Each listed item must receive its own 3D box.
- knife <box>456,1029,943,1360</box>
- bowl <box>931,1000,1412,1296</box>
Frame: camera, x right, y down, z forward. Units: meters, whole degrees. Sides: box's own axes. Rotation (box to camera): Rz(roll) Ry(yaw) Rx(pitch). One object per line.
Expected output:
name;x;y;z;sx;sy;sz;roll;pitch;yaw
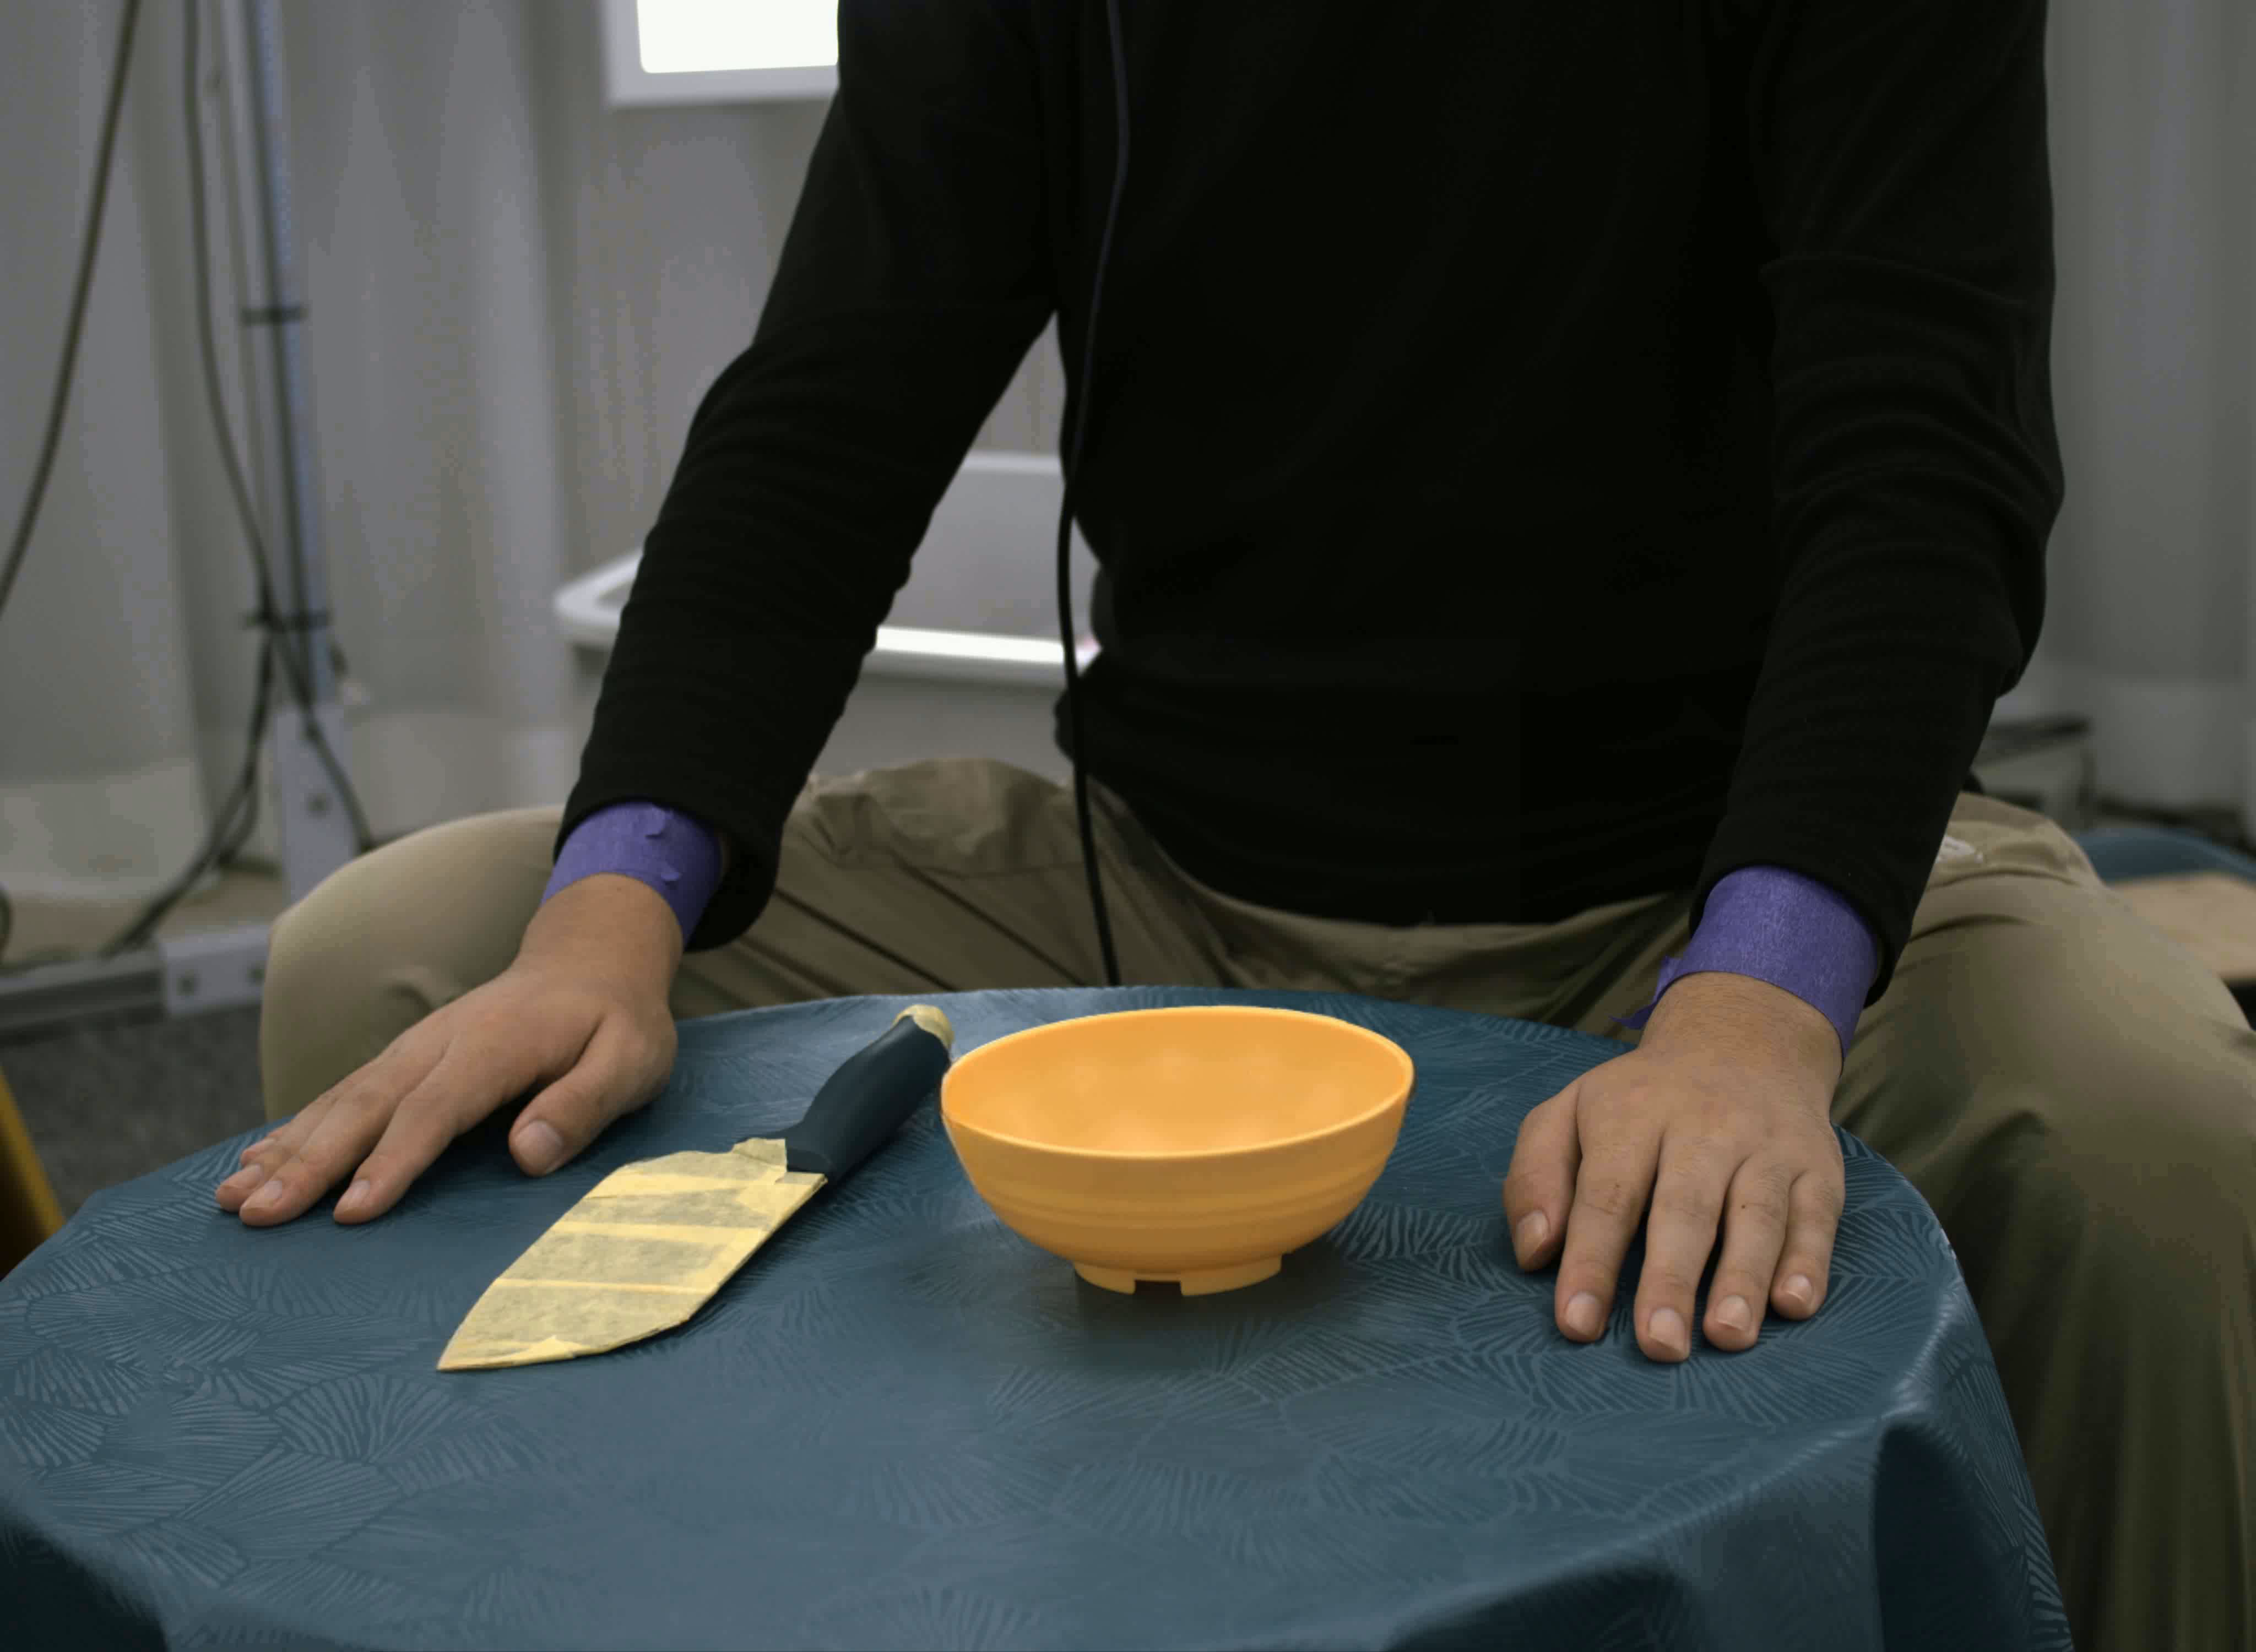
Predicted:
knife;-0.129;0.115;1.712;0.081;0.027;0.290;5;17;21
bowl;0.013;0.103;1.644;0.145;0.060;0.146;0;16;0
